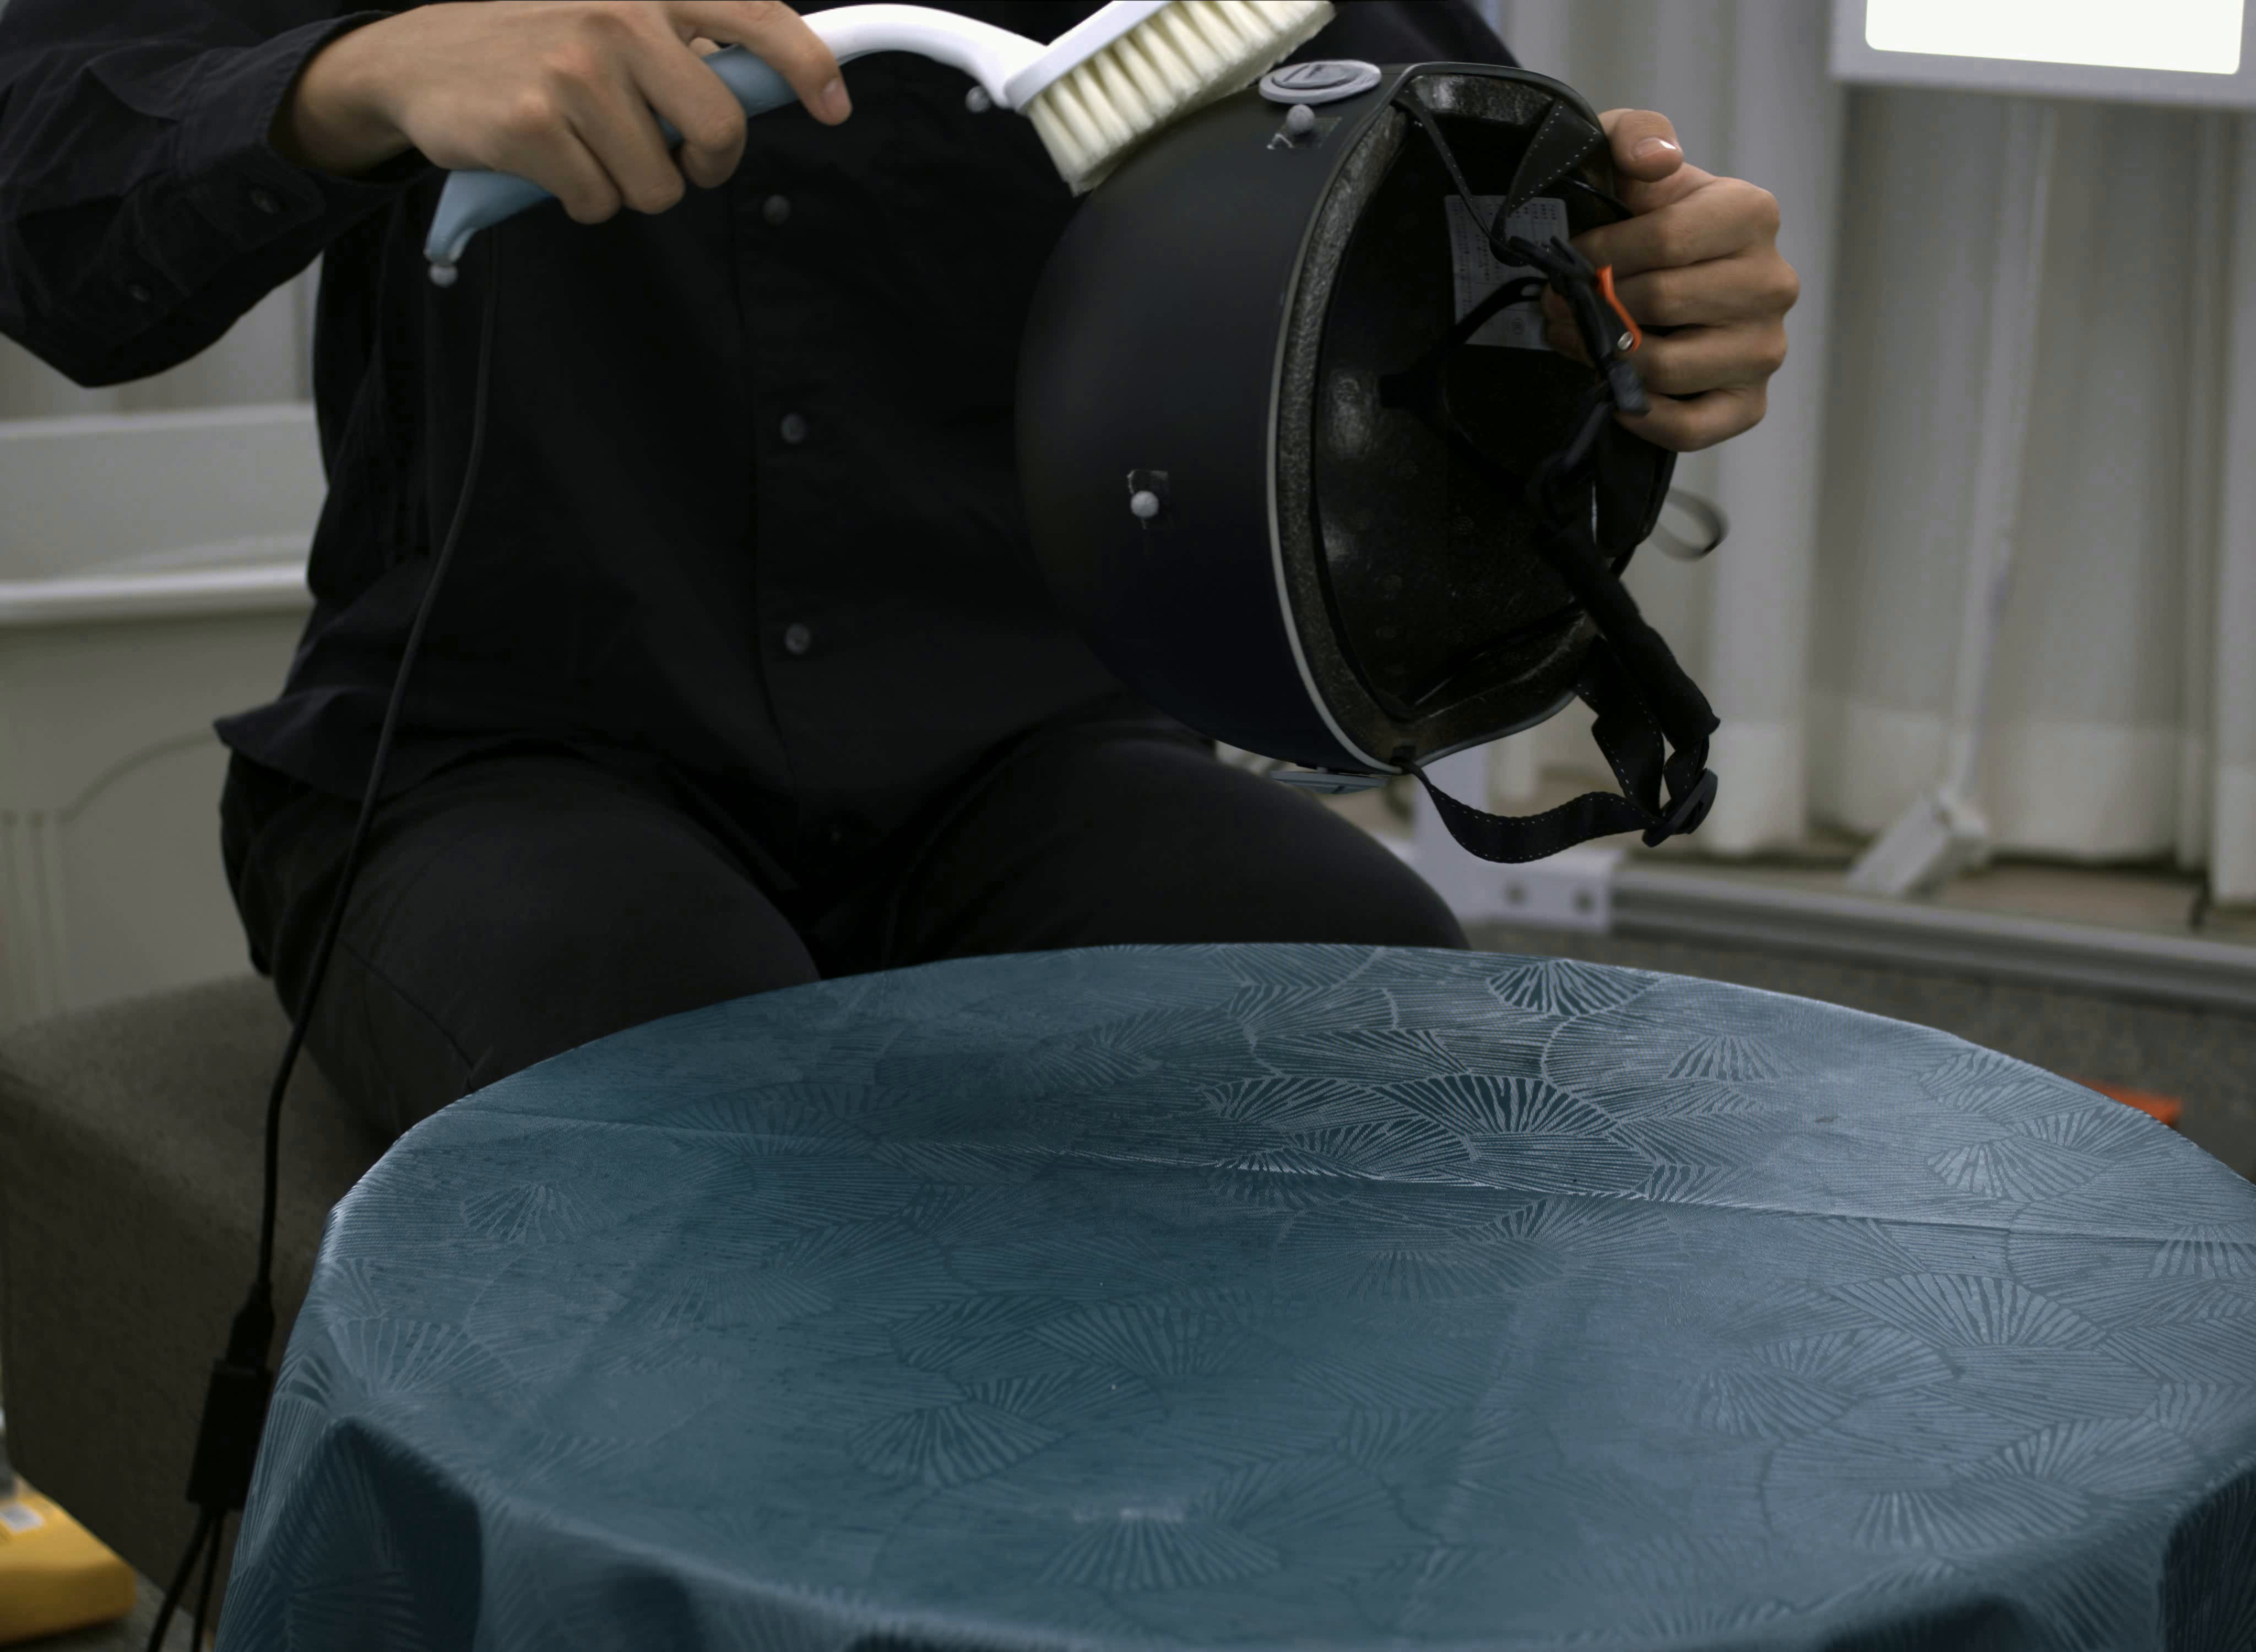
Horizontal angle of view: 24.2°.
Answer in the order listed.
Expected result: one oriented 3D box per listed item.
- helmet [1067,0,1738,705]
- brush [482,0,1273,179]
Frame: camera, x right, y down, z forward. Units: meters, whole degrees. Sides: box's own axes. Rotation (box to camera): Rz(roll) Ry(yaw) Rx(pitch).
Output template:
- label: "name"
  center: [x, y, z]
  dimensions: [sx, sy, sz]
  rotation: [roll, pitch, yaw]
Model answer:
- label: "helmet"
  center: [0.070, -0.161, 1.715]
  dimensions: [0.165, 0.232, 0.274]
  rotation: [5, 15, 32]
- label: "brush"
  center: [-0.052, -0.249, 1.702]
  dimensions: [0.324, 0.084, 0.083]
  rotation: [-22, 52, 8]
